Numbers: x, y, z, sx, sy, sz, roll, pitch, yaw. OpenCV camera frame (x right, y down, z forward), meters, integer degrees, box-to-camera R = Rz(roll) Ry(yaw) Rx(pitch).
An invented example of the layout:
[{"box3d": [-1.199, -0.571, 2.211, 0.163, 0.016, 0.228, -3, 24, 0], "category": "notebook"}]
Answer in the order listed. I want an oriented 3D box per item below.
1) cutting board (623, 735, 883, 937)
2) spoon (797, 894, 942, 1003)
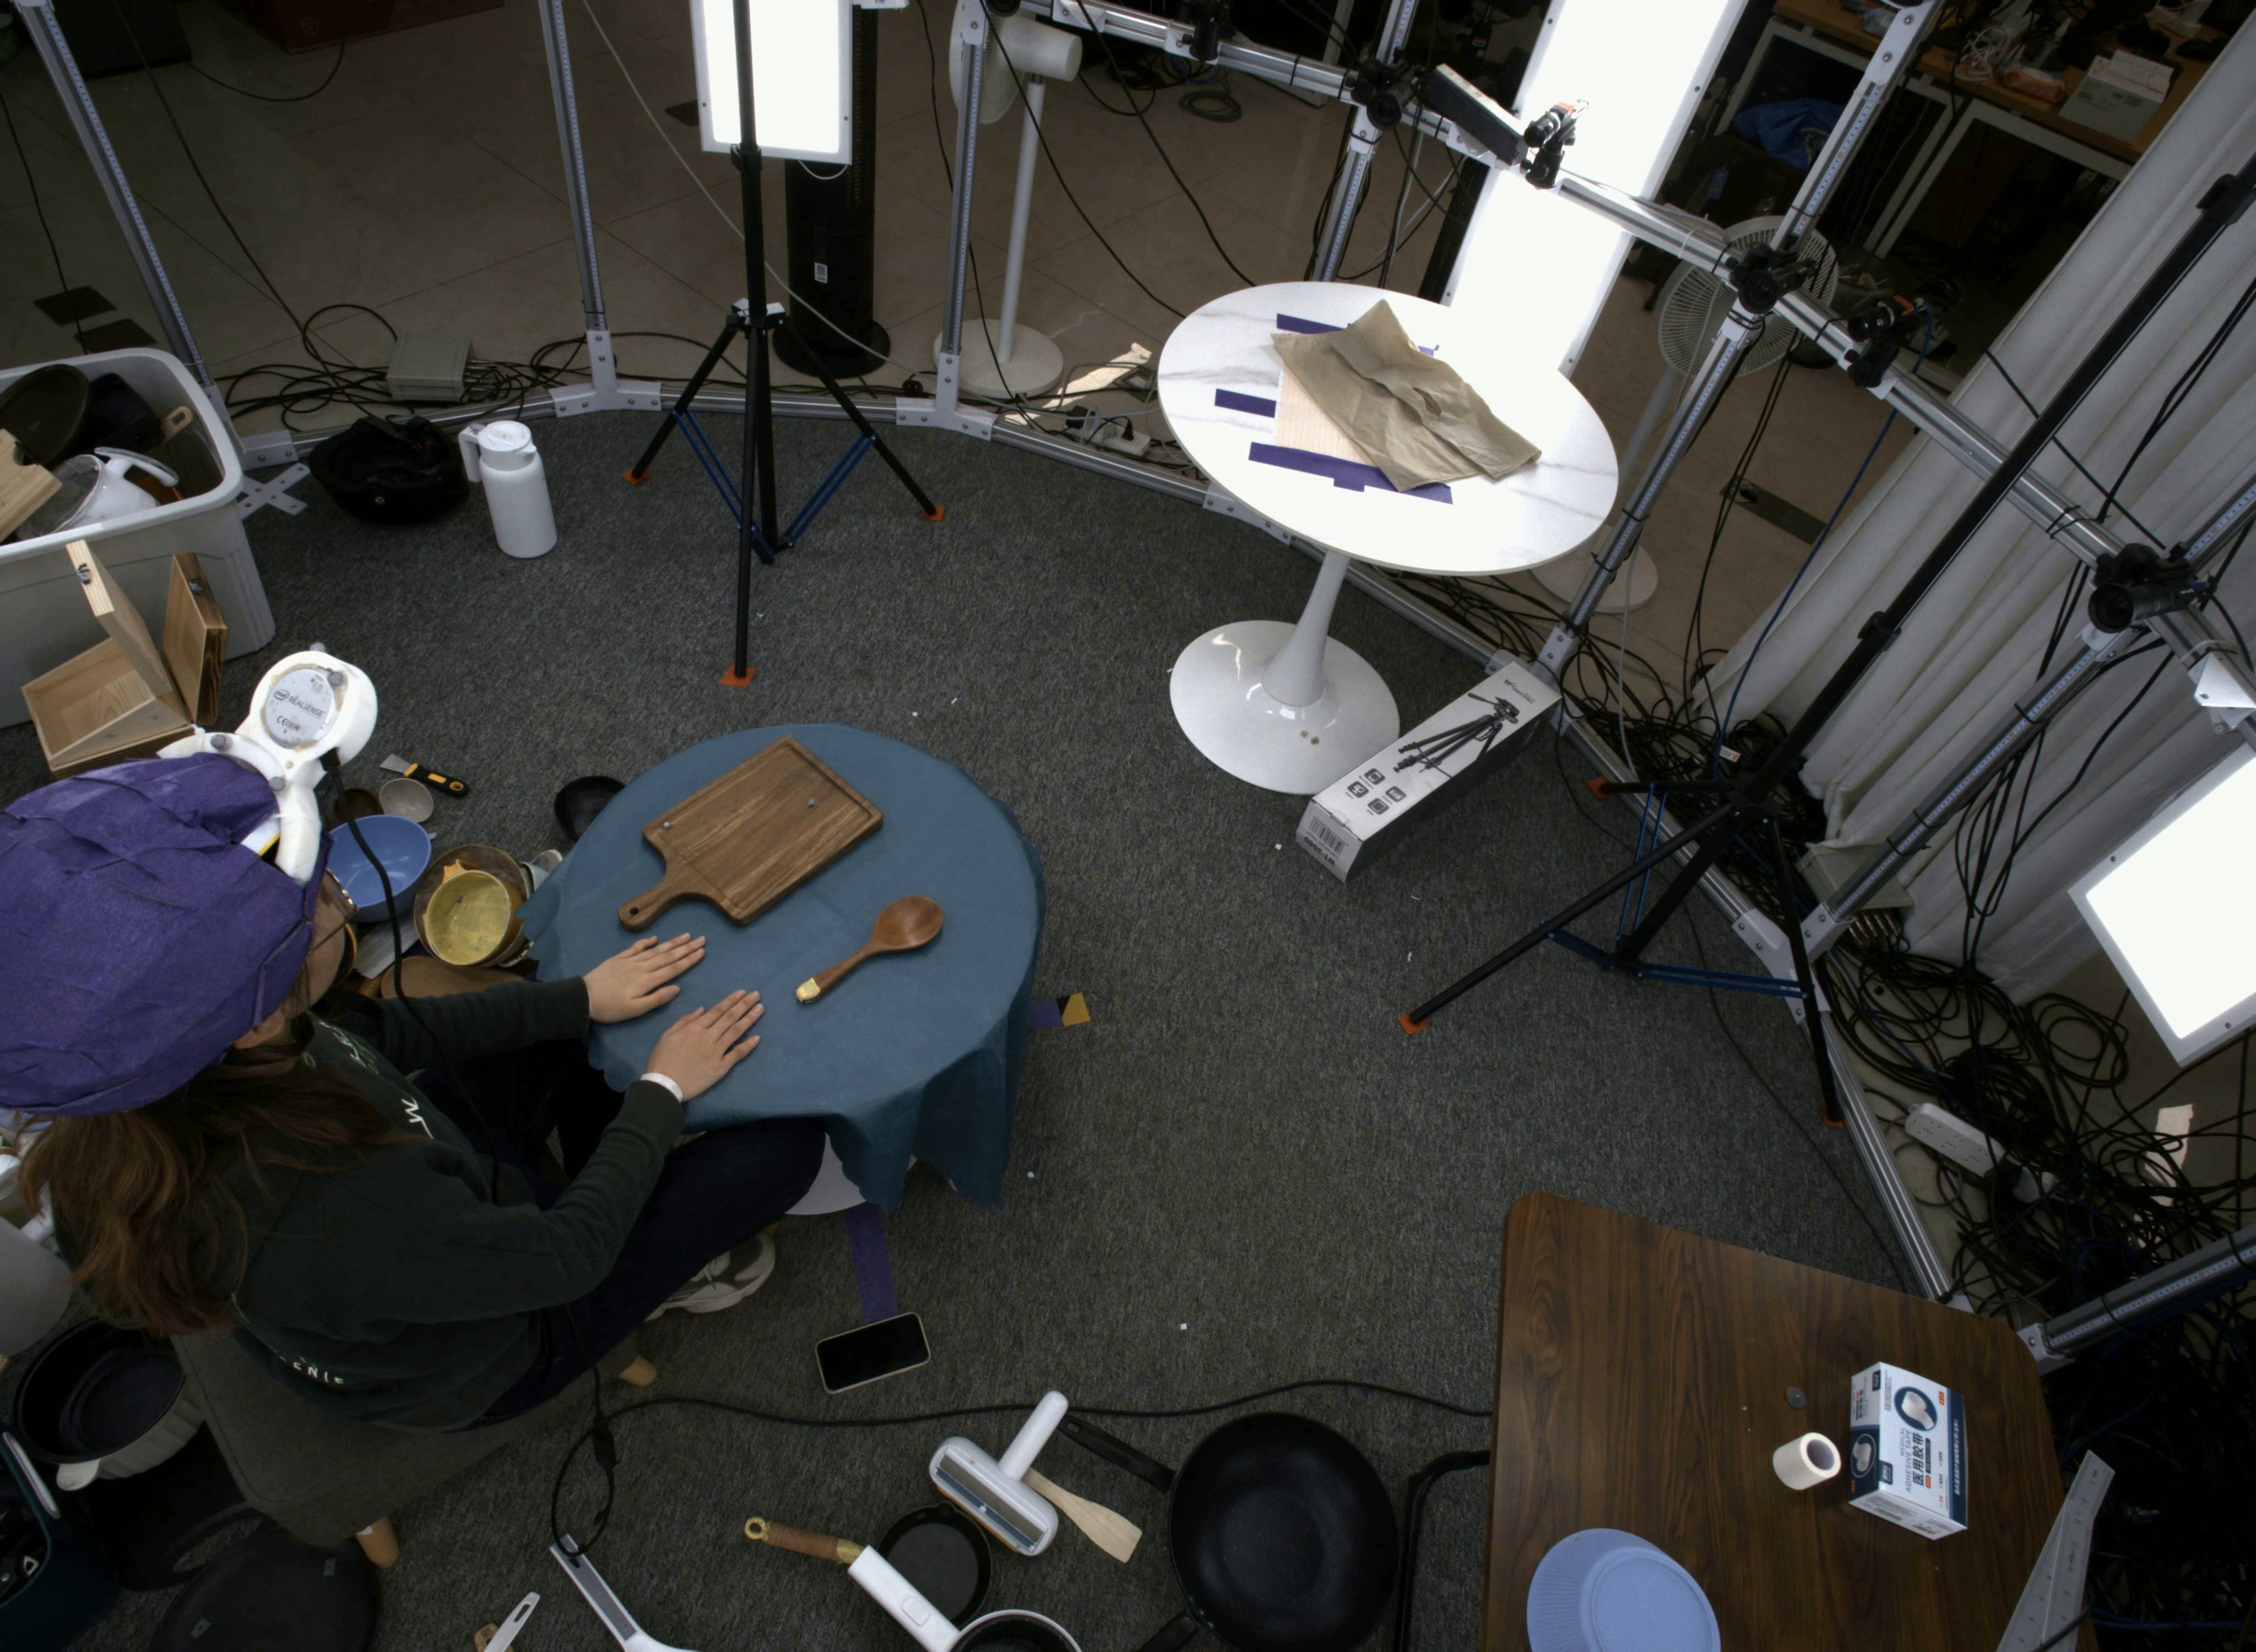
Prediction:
[{"box3d": [-0.509, 0.027, 1.676, 0.197, 0.023, 0.352, 39, 55, 14], "category": "cutting board"}, {"box3d": [-0.324, 0.153, 1.629, 0.074, 0.017, 0.216, 44, 55, 16], "category": "spoon"}]
